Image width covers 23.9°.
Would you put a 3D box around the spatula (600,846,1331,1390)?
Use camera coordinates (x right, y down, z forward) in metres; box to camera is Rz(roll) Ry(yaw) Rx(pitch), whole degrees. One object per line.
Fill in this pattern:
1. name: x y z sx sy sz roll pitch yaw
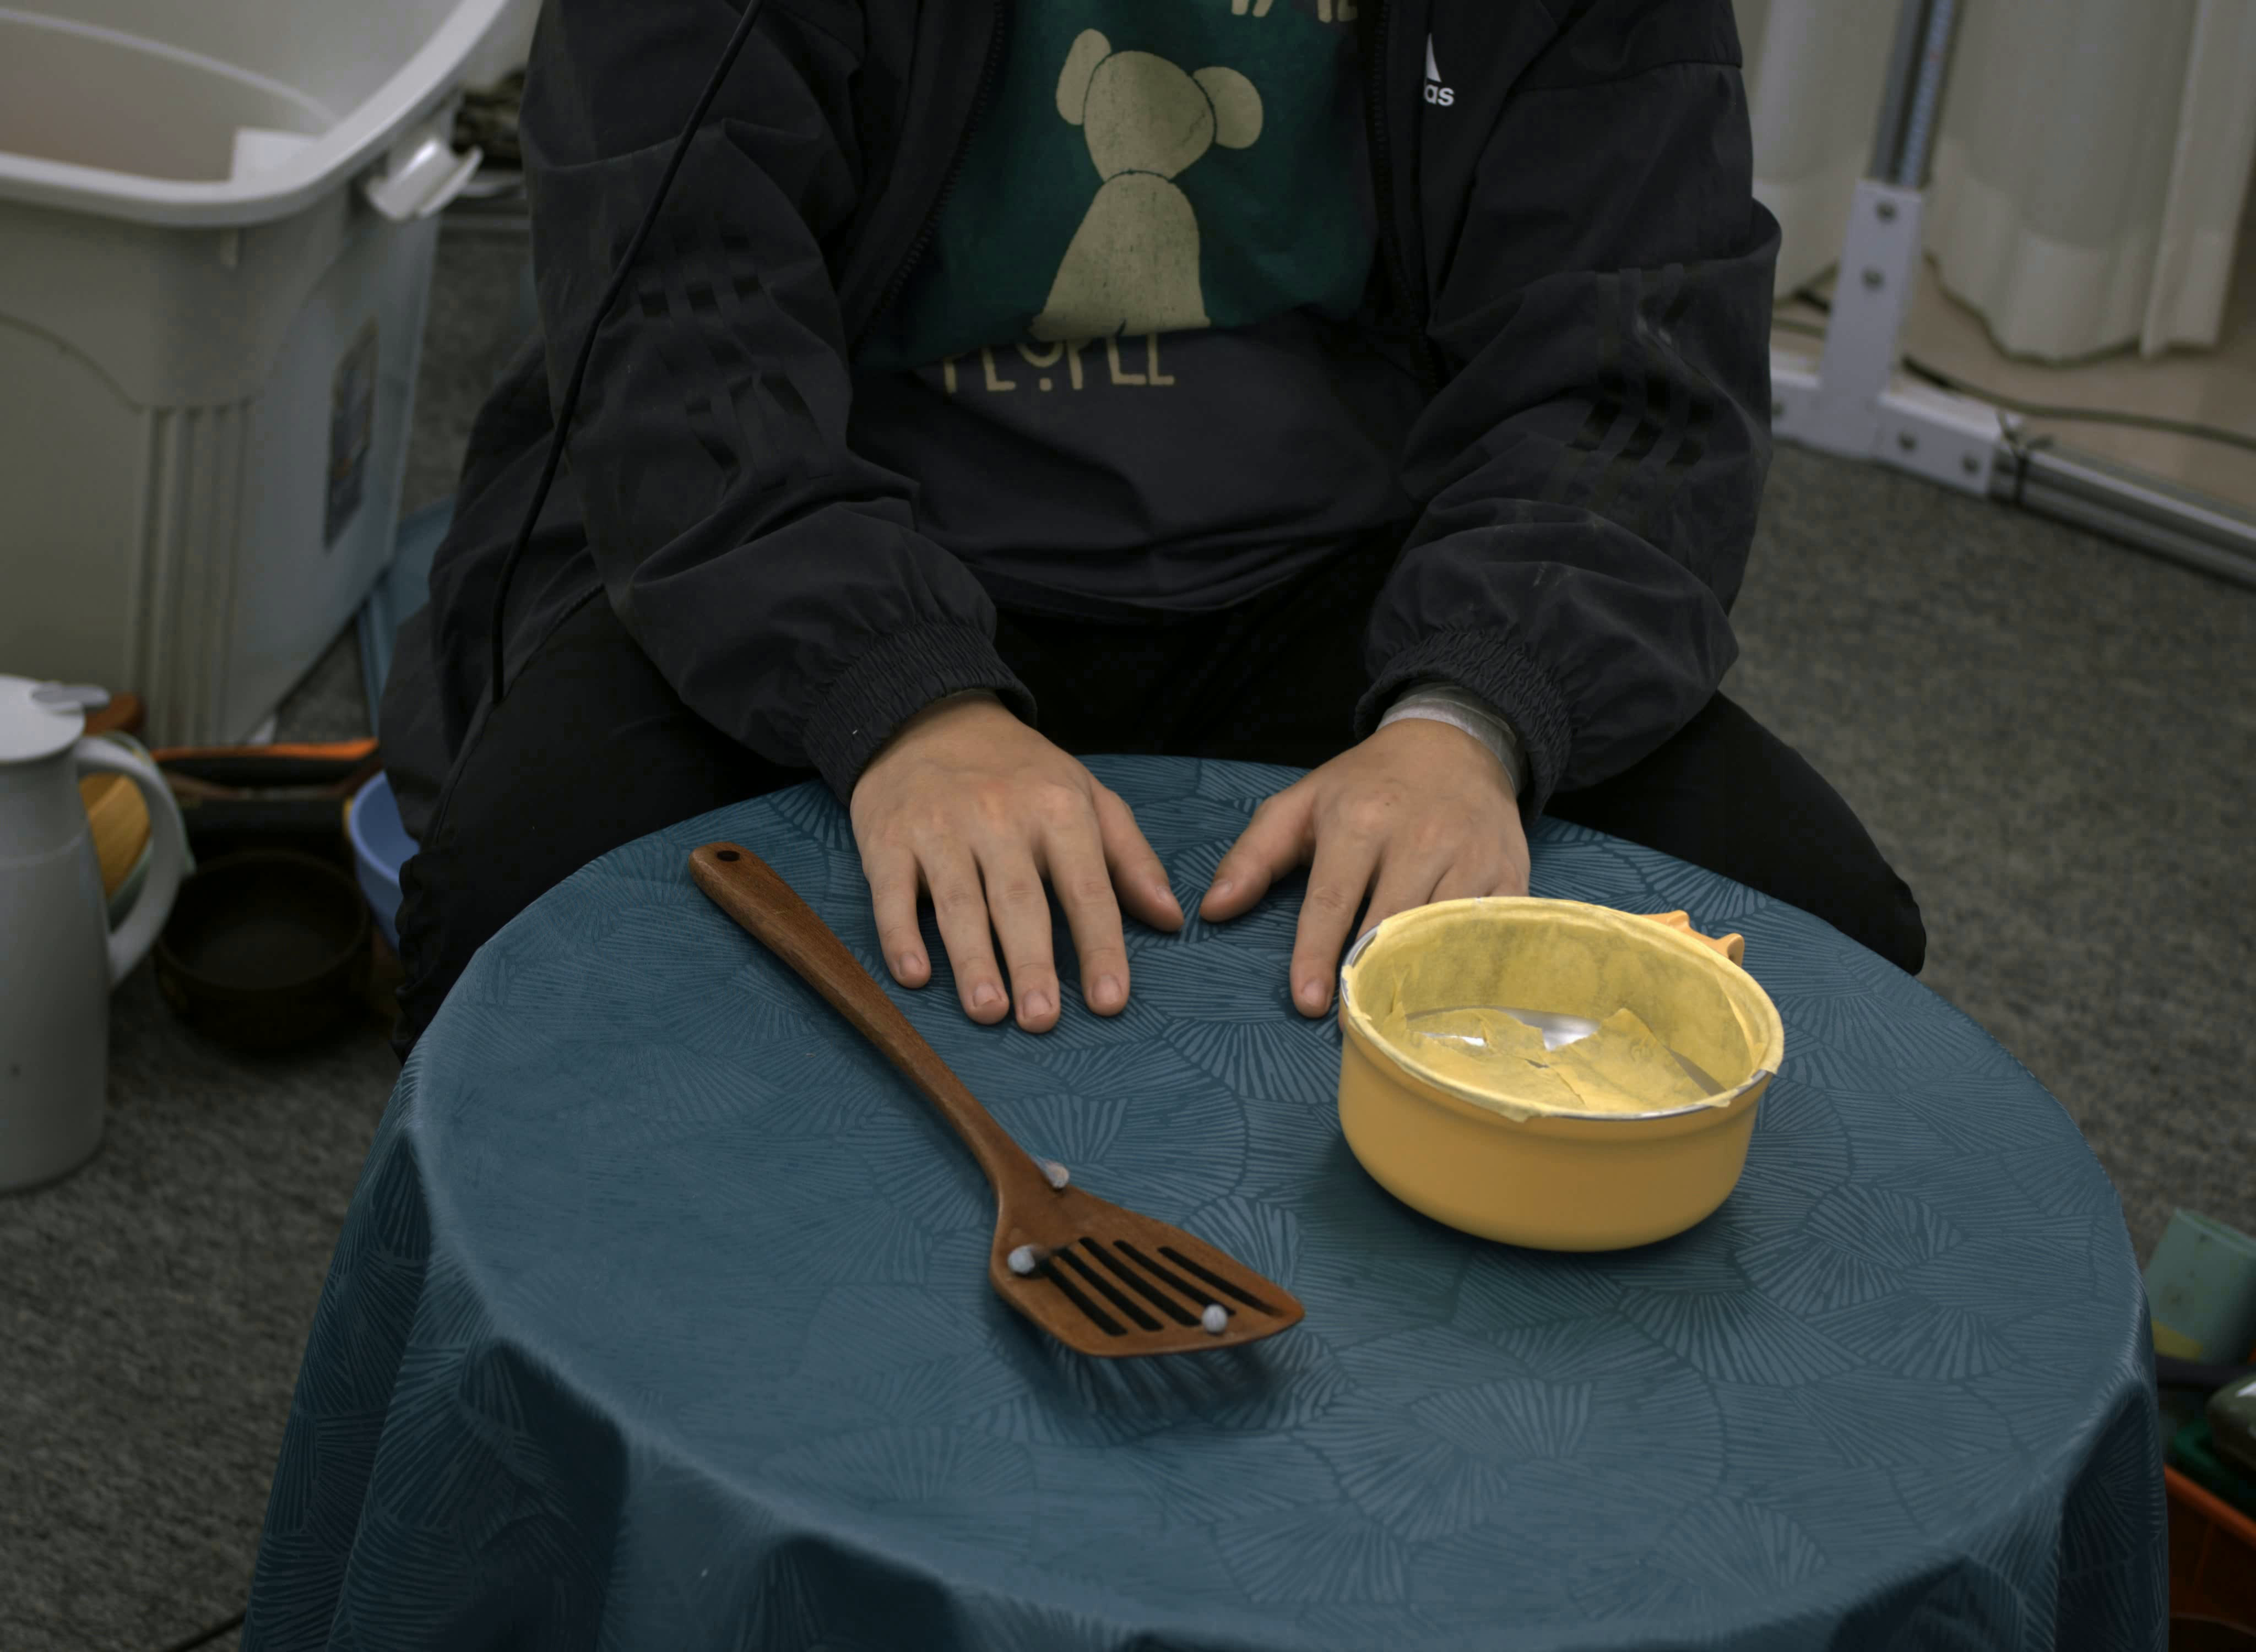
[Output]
1. spatula: -0.075 0.099 1.829 0.085 0.024 0.390 -5 30 -40

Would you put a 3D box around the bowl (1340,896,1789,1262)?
1. bowl: 0.155 0.087 1.843 0.154 0.074 0.179 21 30 26
